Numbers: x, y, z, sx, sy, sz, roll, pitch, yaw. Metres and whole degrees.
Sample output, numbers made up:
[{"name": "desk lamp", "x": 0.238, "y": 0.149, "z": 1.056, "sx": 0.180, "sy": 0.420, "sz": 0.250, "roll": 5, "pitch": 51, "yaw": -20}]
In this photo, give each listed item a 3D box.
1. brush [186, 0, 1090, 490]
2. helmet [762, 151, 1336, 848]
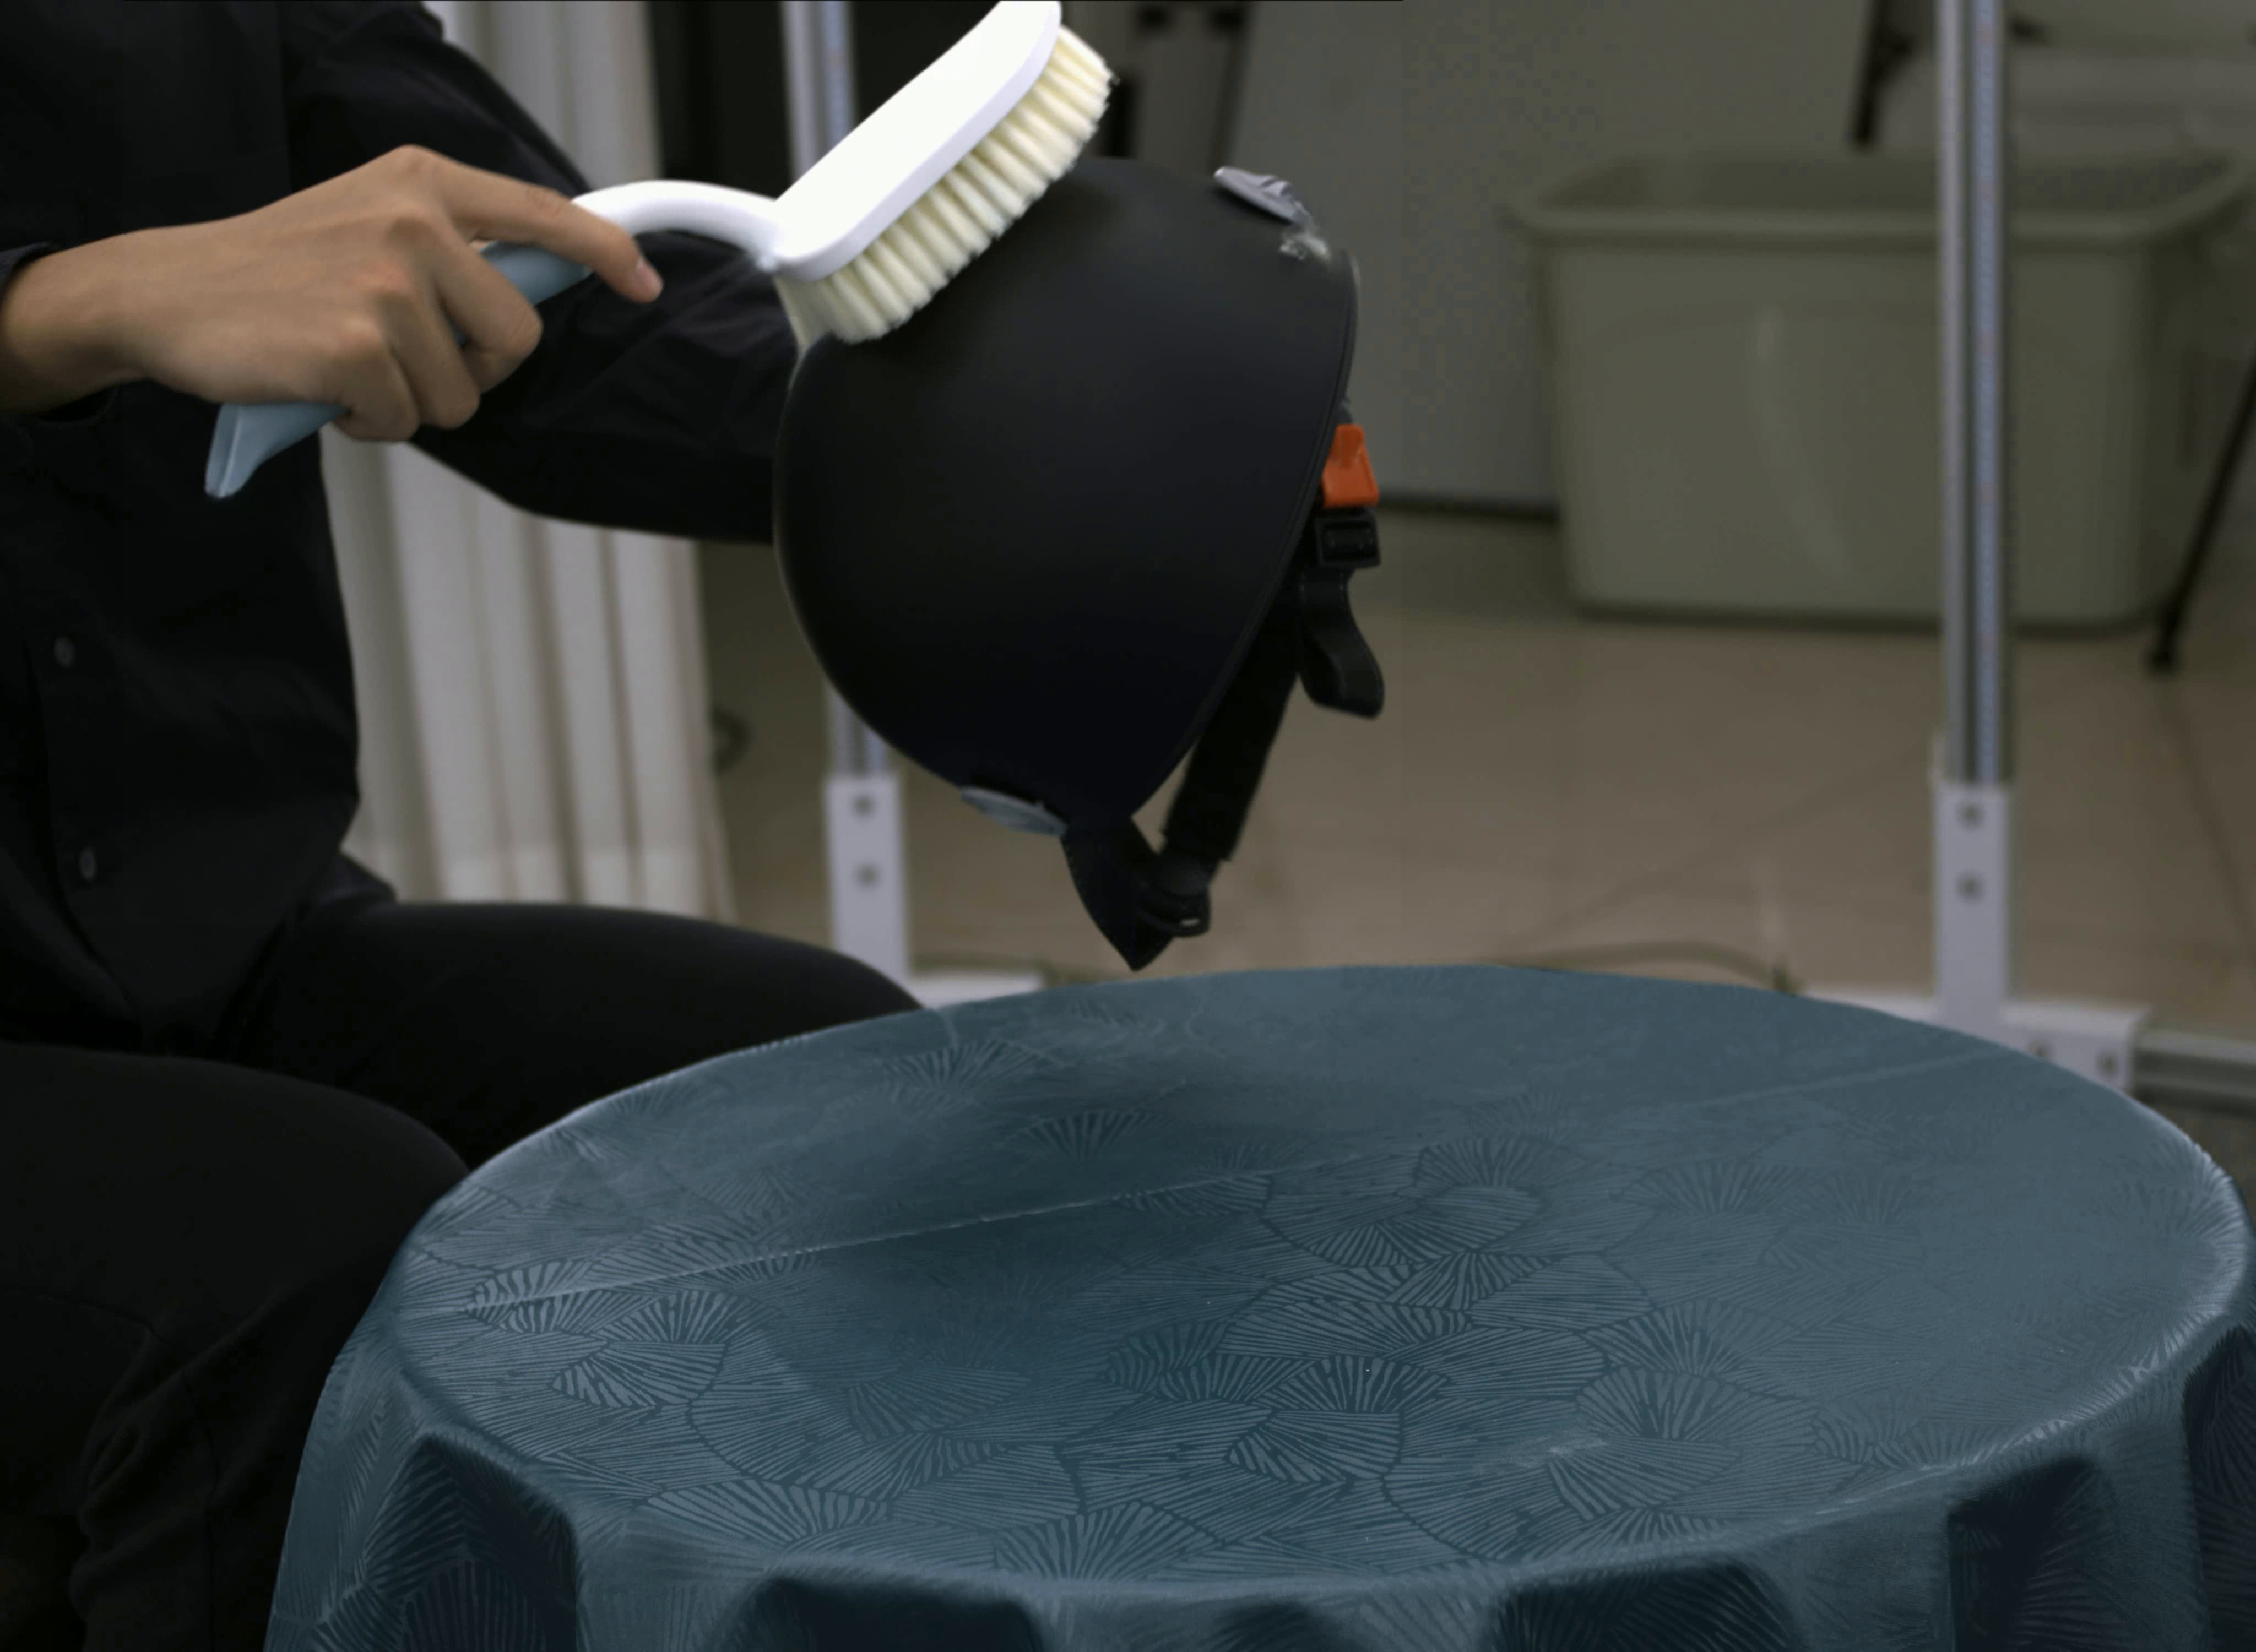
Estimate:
[{"name": "brush", "x": -0.145, "y": -0.165, "z": 1.703, "sx": 0.322, "sy": 0.085, "sz": 0.083, "roll": -33, "pitch": -18, "yaw": -15}, {"name": "helmet", "x": -0.035, "y": -0.120, "z": 1.786, "sx": 0.164, "sy": 0.232, "sz": 0.274, "roll": 20, "pitch": 4, "yaw": -7}]
